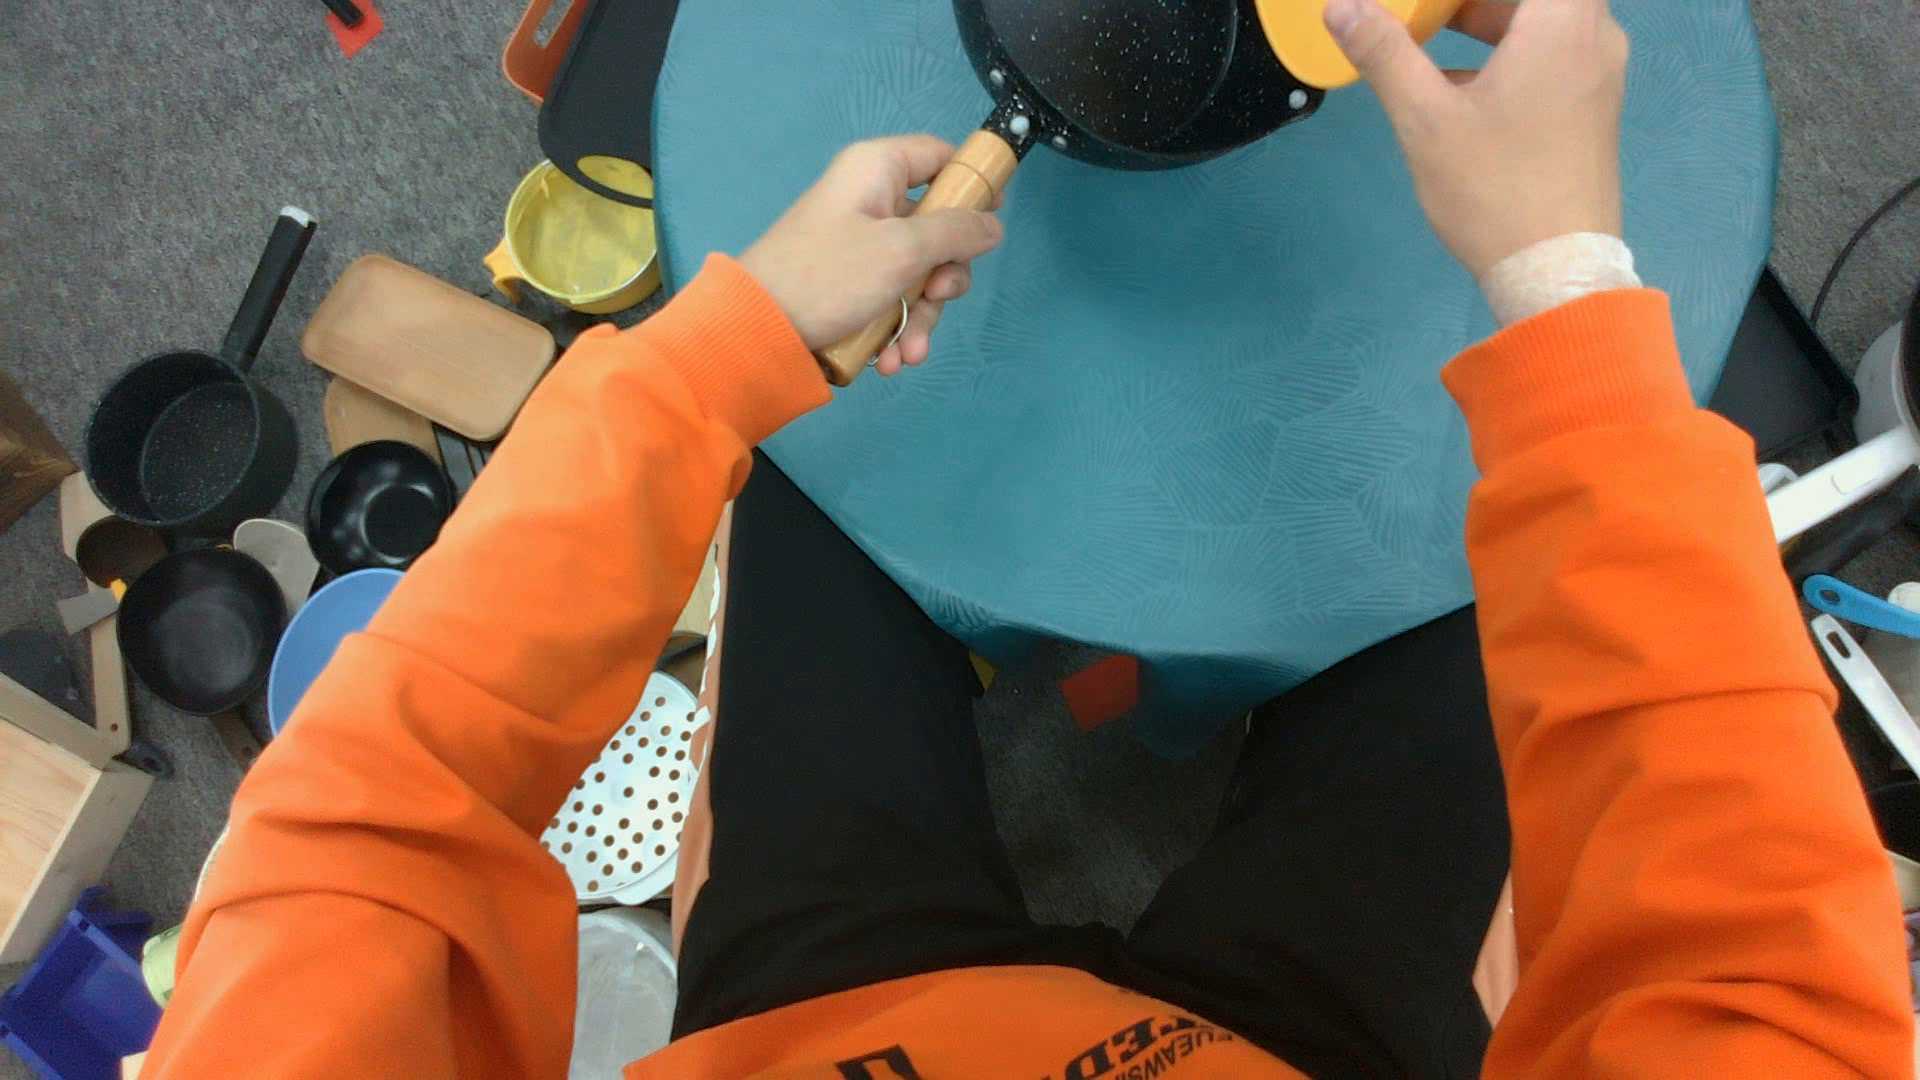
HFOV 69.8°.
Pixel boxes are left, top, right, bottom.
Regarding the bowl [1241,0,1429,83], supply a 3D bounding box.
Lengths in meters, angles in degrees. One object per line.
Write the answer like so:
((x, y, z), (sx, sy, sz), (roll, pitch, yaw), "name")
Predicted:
((0.166, -0.265, 0.563), (0.060, 0.145, 0.145), (-11, 77, -11), "bowl")

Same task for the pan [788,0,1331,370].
((0.030, -0.207, 0.628), (0.207, 0.108, 0.343), (40, 80, -17), "pan")
